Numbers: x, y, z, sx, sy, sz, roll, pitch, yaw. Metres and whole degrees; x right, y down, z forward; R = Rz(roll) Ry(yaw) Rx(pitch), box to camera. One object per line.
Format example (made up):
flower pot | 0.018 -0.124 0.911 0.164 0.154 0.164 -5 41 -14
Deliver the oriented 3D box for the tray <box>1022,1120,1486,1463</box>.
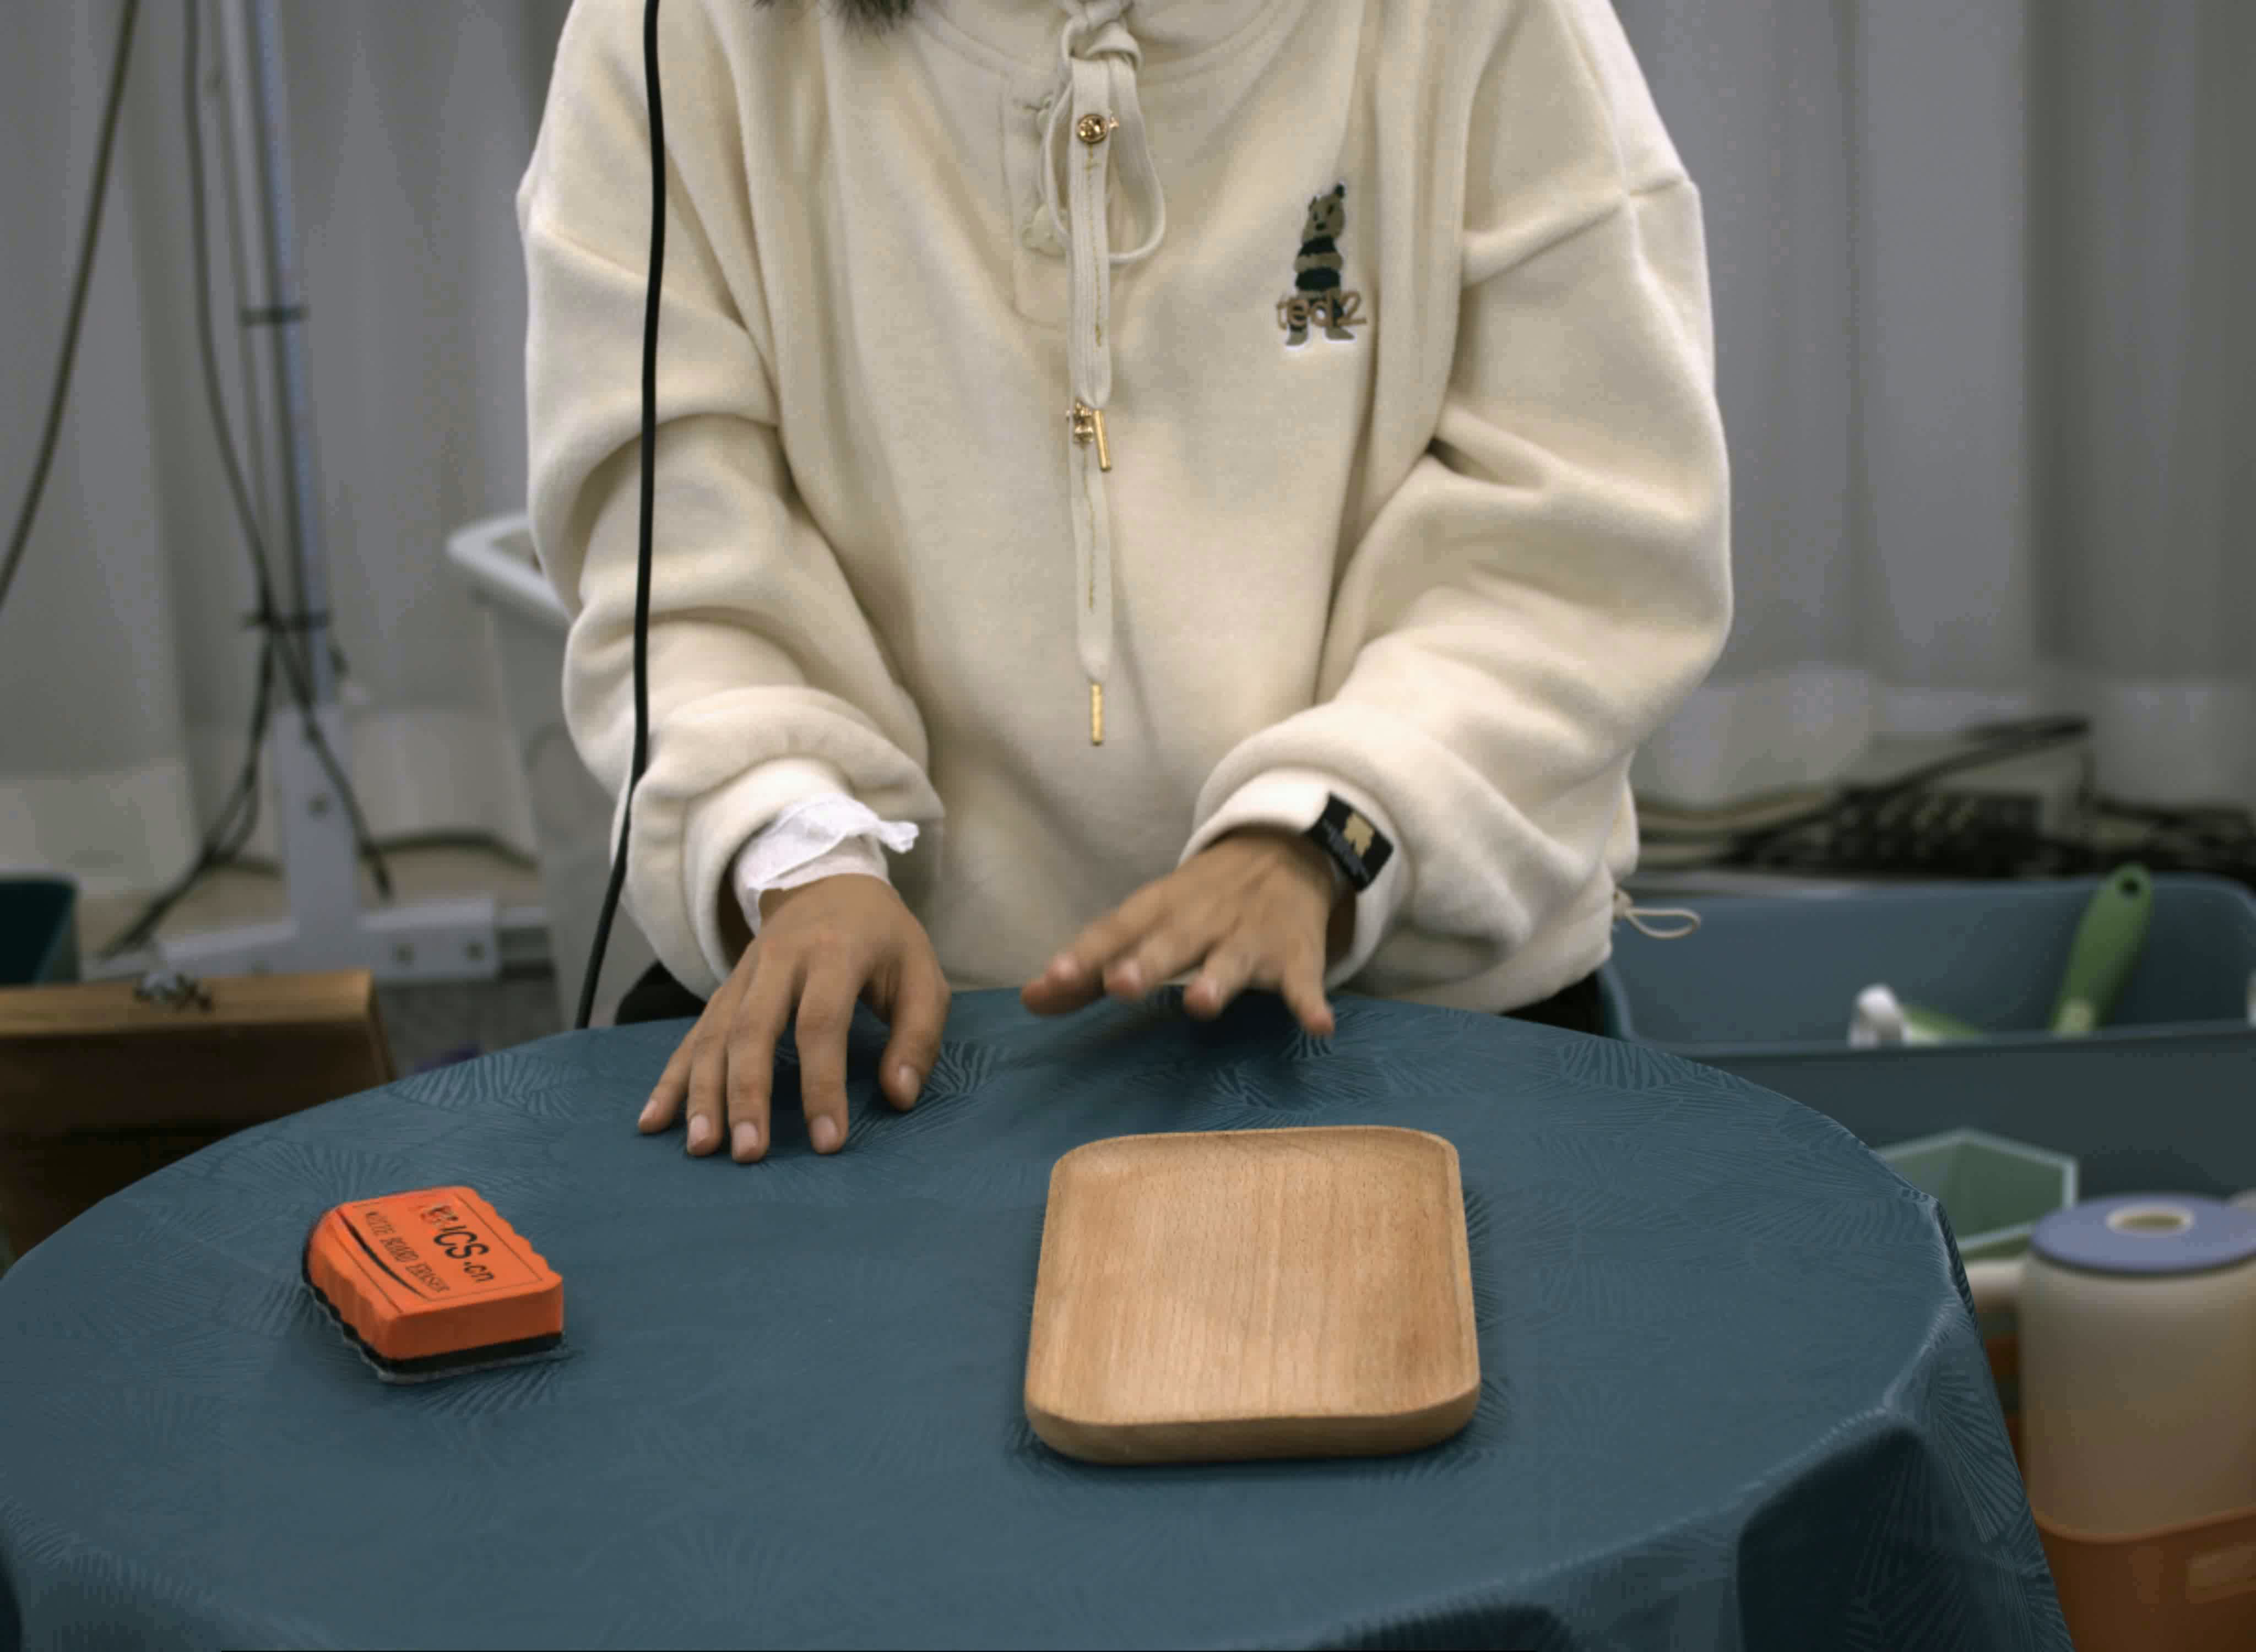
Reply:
tray | 0.039 0.133 1.600 0.130 0.023 0.252 1 15 3

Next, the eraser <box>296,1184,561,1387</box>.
eraser | -0.209 0.136 1.630 0.059 0.023 0.109 -10 17 -20
